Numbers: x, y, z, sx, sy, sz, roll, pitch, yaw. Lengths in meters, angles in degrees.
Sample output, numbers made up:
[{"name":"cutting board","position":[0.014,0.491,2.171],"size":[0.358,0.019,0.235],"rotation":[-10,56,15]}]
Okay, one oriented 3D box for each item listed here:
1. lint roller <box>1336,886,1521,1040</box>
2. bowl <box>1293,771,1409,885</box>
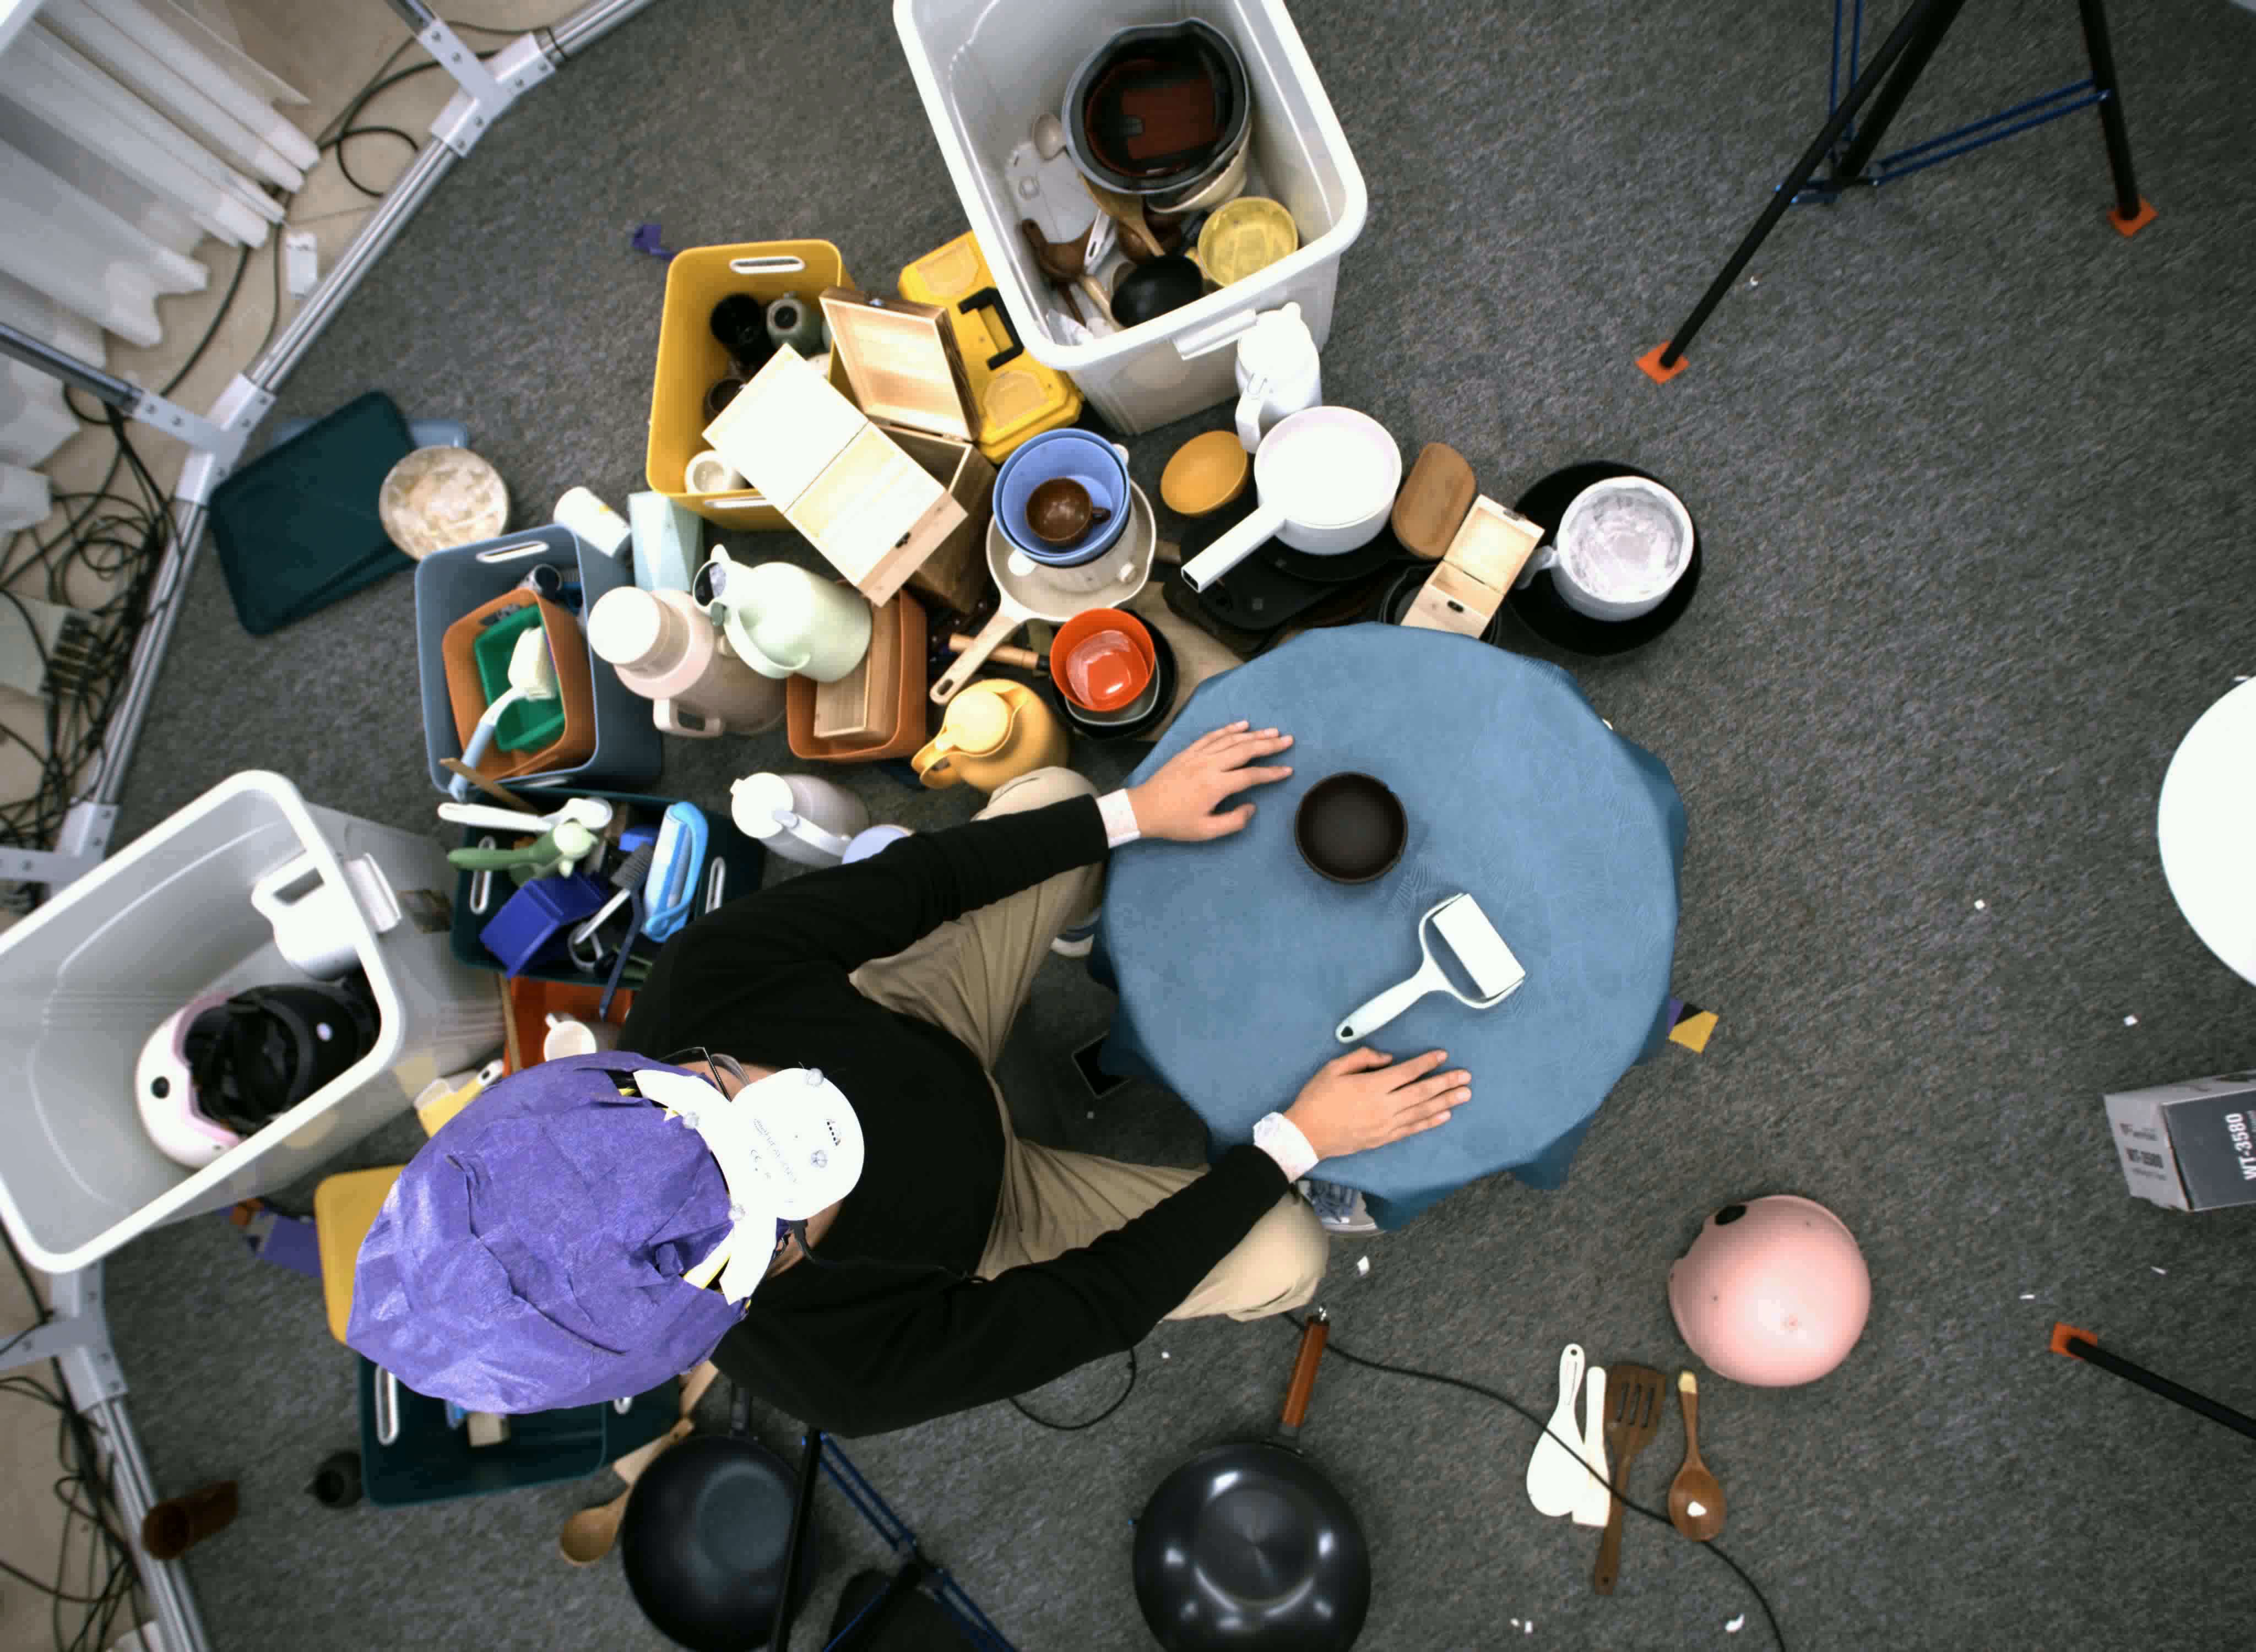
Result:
[{"name":"lint roller","position":[0.295,0.157,1.428],"size":[0.199,0.048,0.116],"rotation":[-35,82,9]},{"name":"bowl","position":[0.231,0.003,1.435],"size":[0.118,0.070,0.117],"rotation":[-1,87,11]}]
